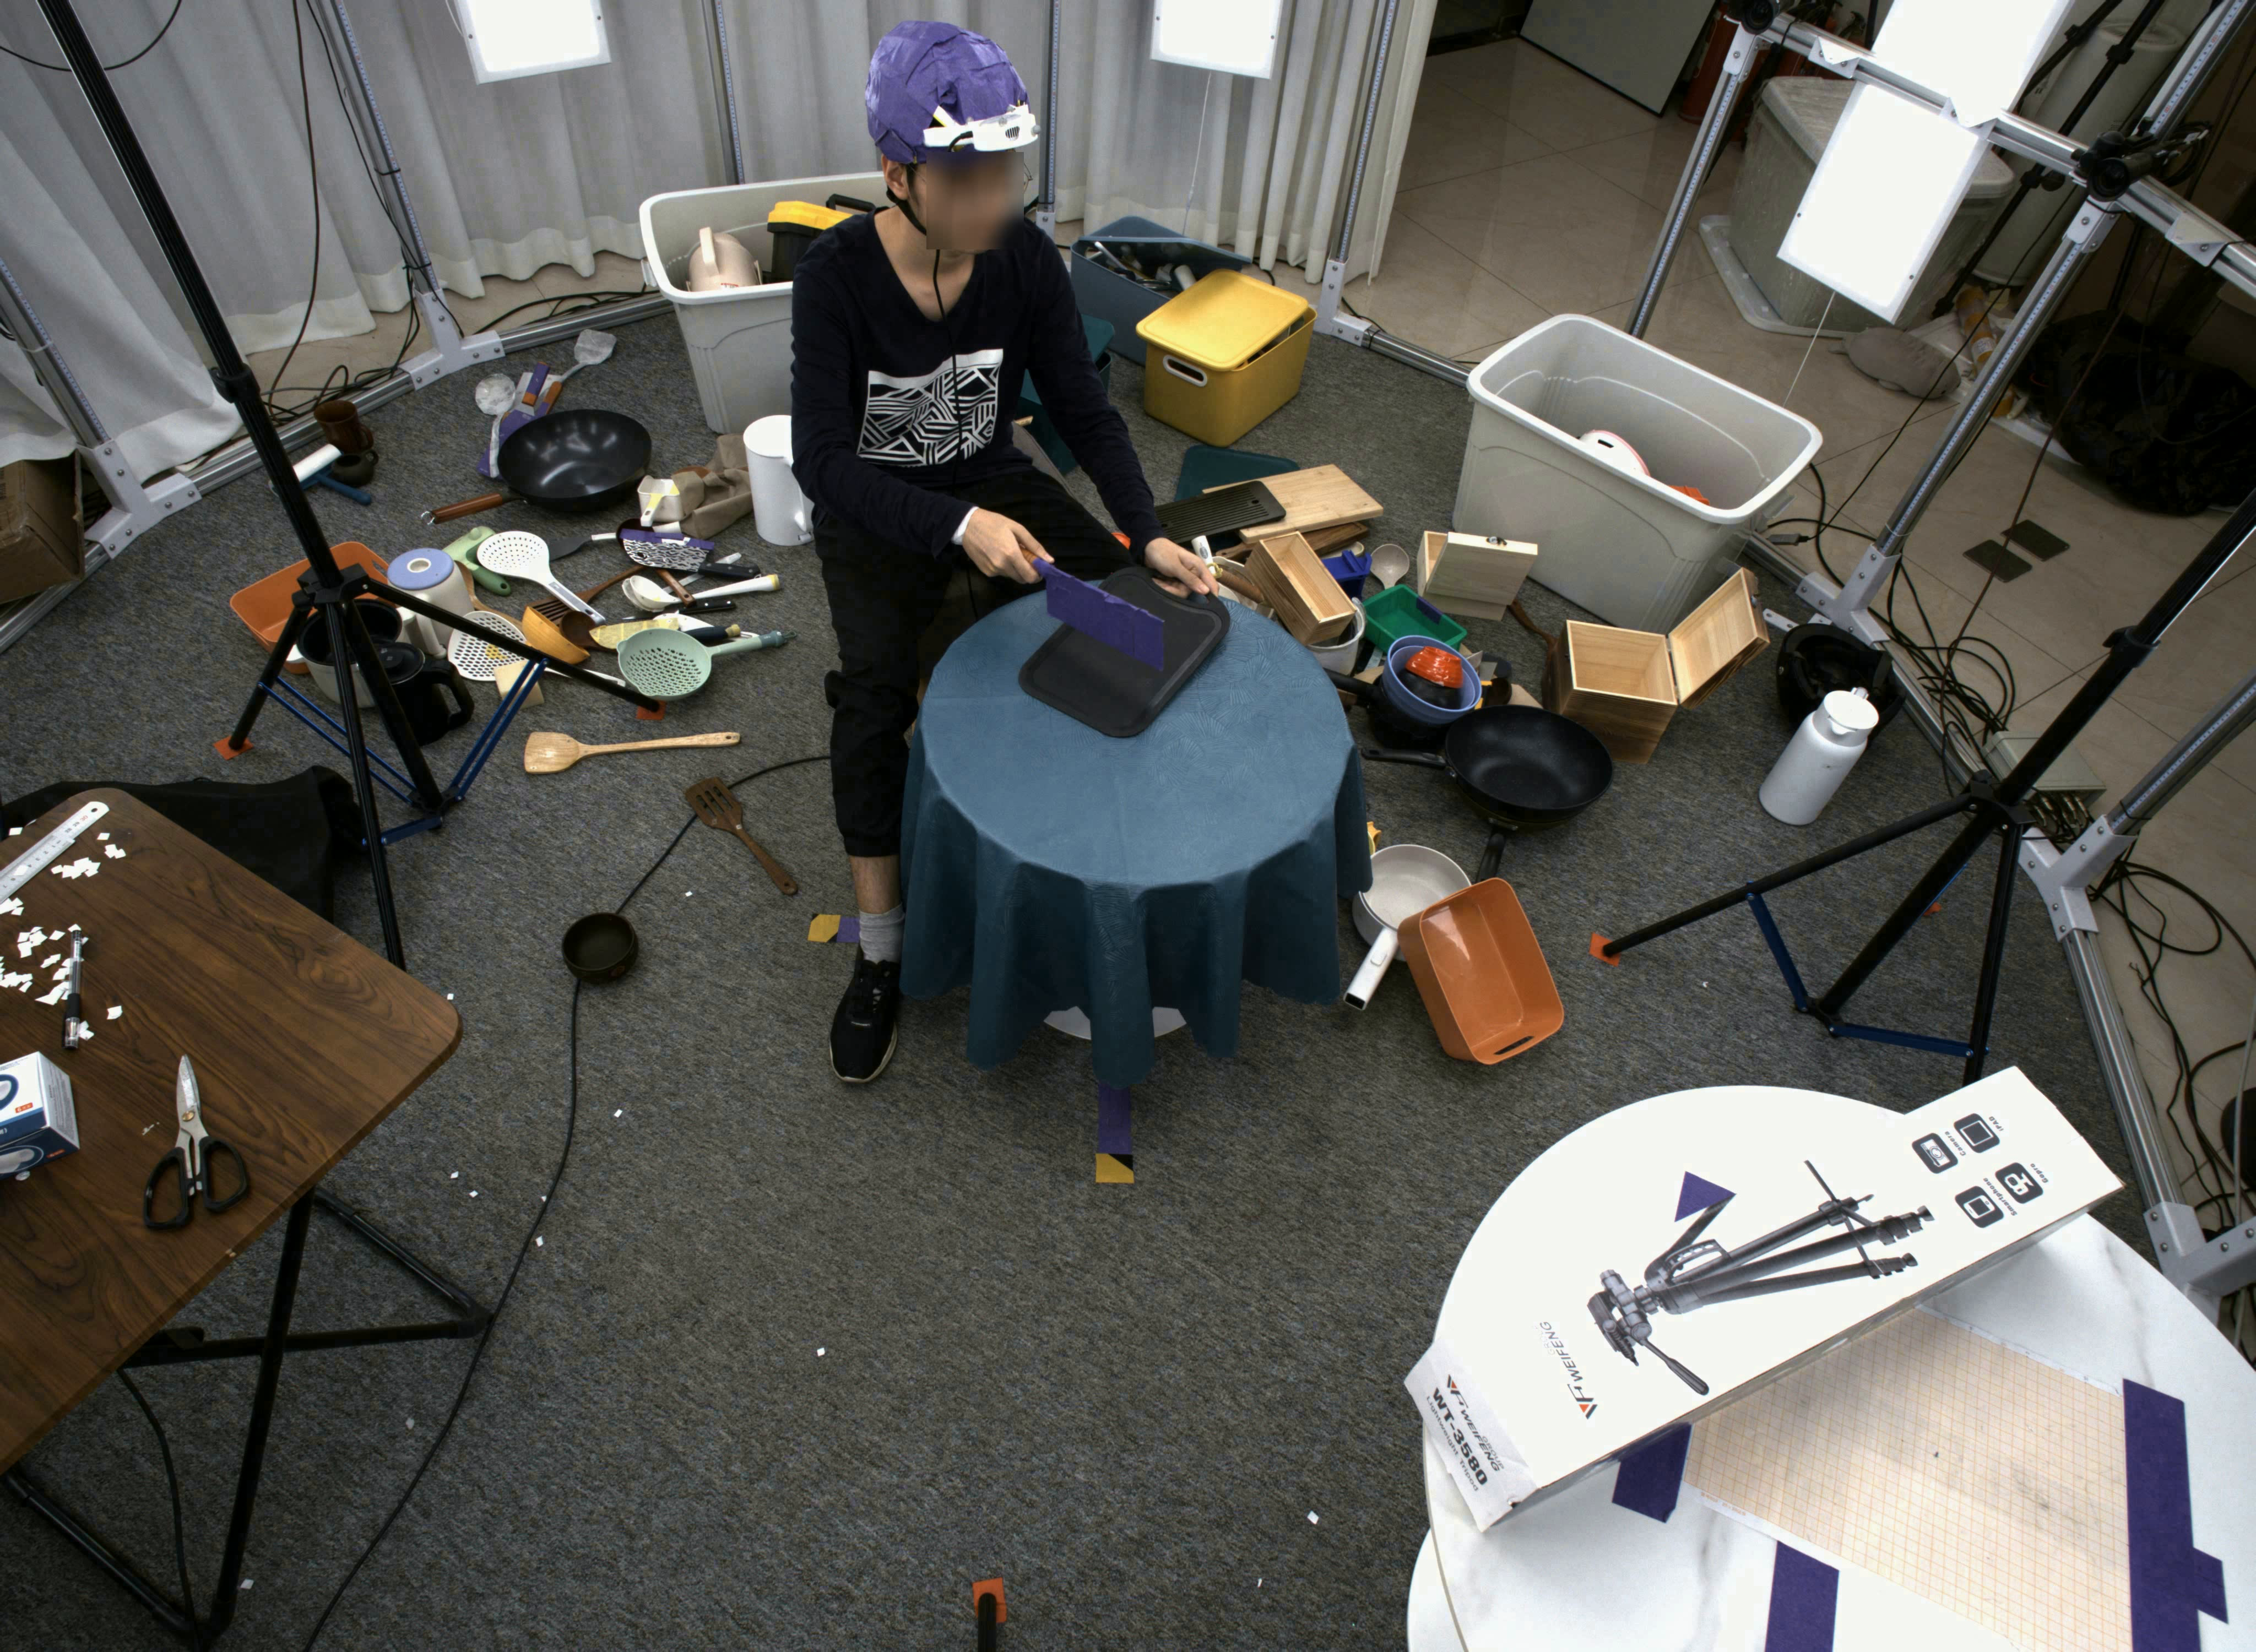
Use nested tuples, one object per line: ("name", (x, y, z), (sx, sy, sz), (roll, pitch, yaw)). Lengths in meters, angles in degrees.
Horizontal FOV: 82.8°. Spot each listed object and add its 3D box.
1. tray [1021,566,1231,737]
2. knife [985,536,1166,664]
("tray", (0.004, -0.268, 1.879), (0.213, 0.009, 0.330), (29, 58, 19))
("knife", (-0.076, -0.316, 1.818), (0.319, 0.101, 0.032), (30, 51, 26))
